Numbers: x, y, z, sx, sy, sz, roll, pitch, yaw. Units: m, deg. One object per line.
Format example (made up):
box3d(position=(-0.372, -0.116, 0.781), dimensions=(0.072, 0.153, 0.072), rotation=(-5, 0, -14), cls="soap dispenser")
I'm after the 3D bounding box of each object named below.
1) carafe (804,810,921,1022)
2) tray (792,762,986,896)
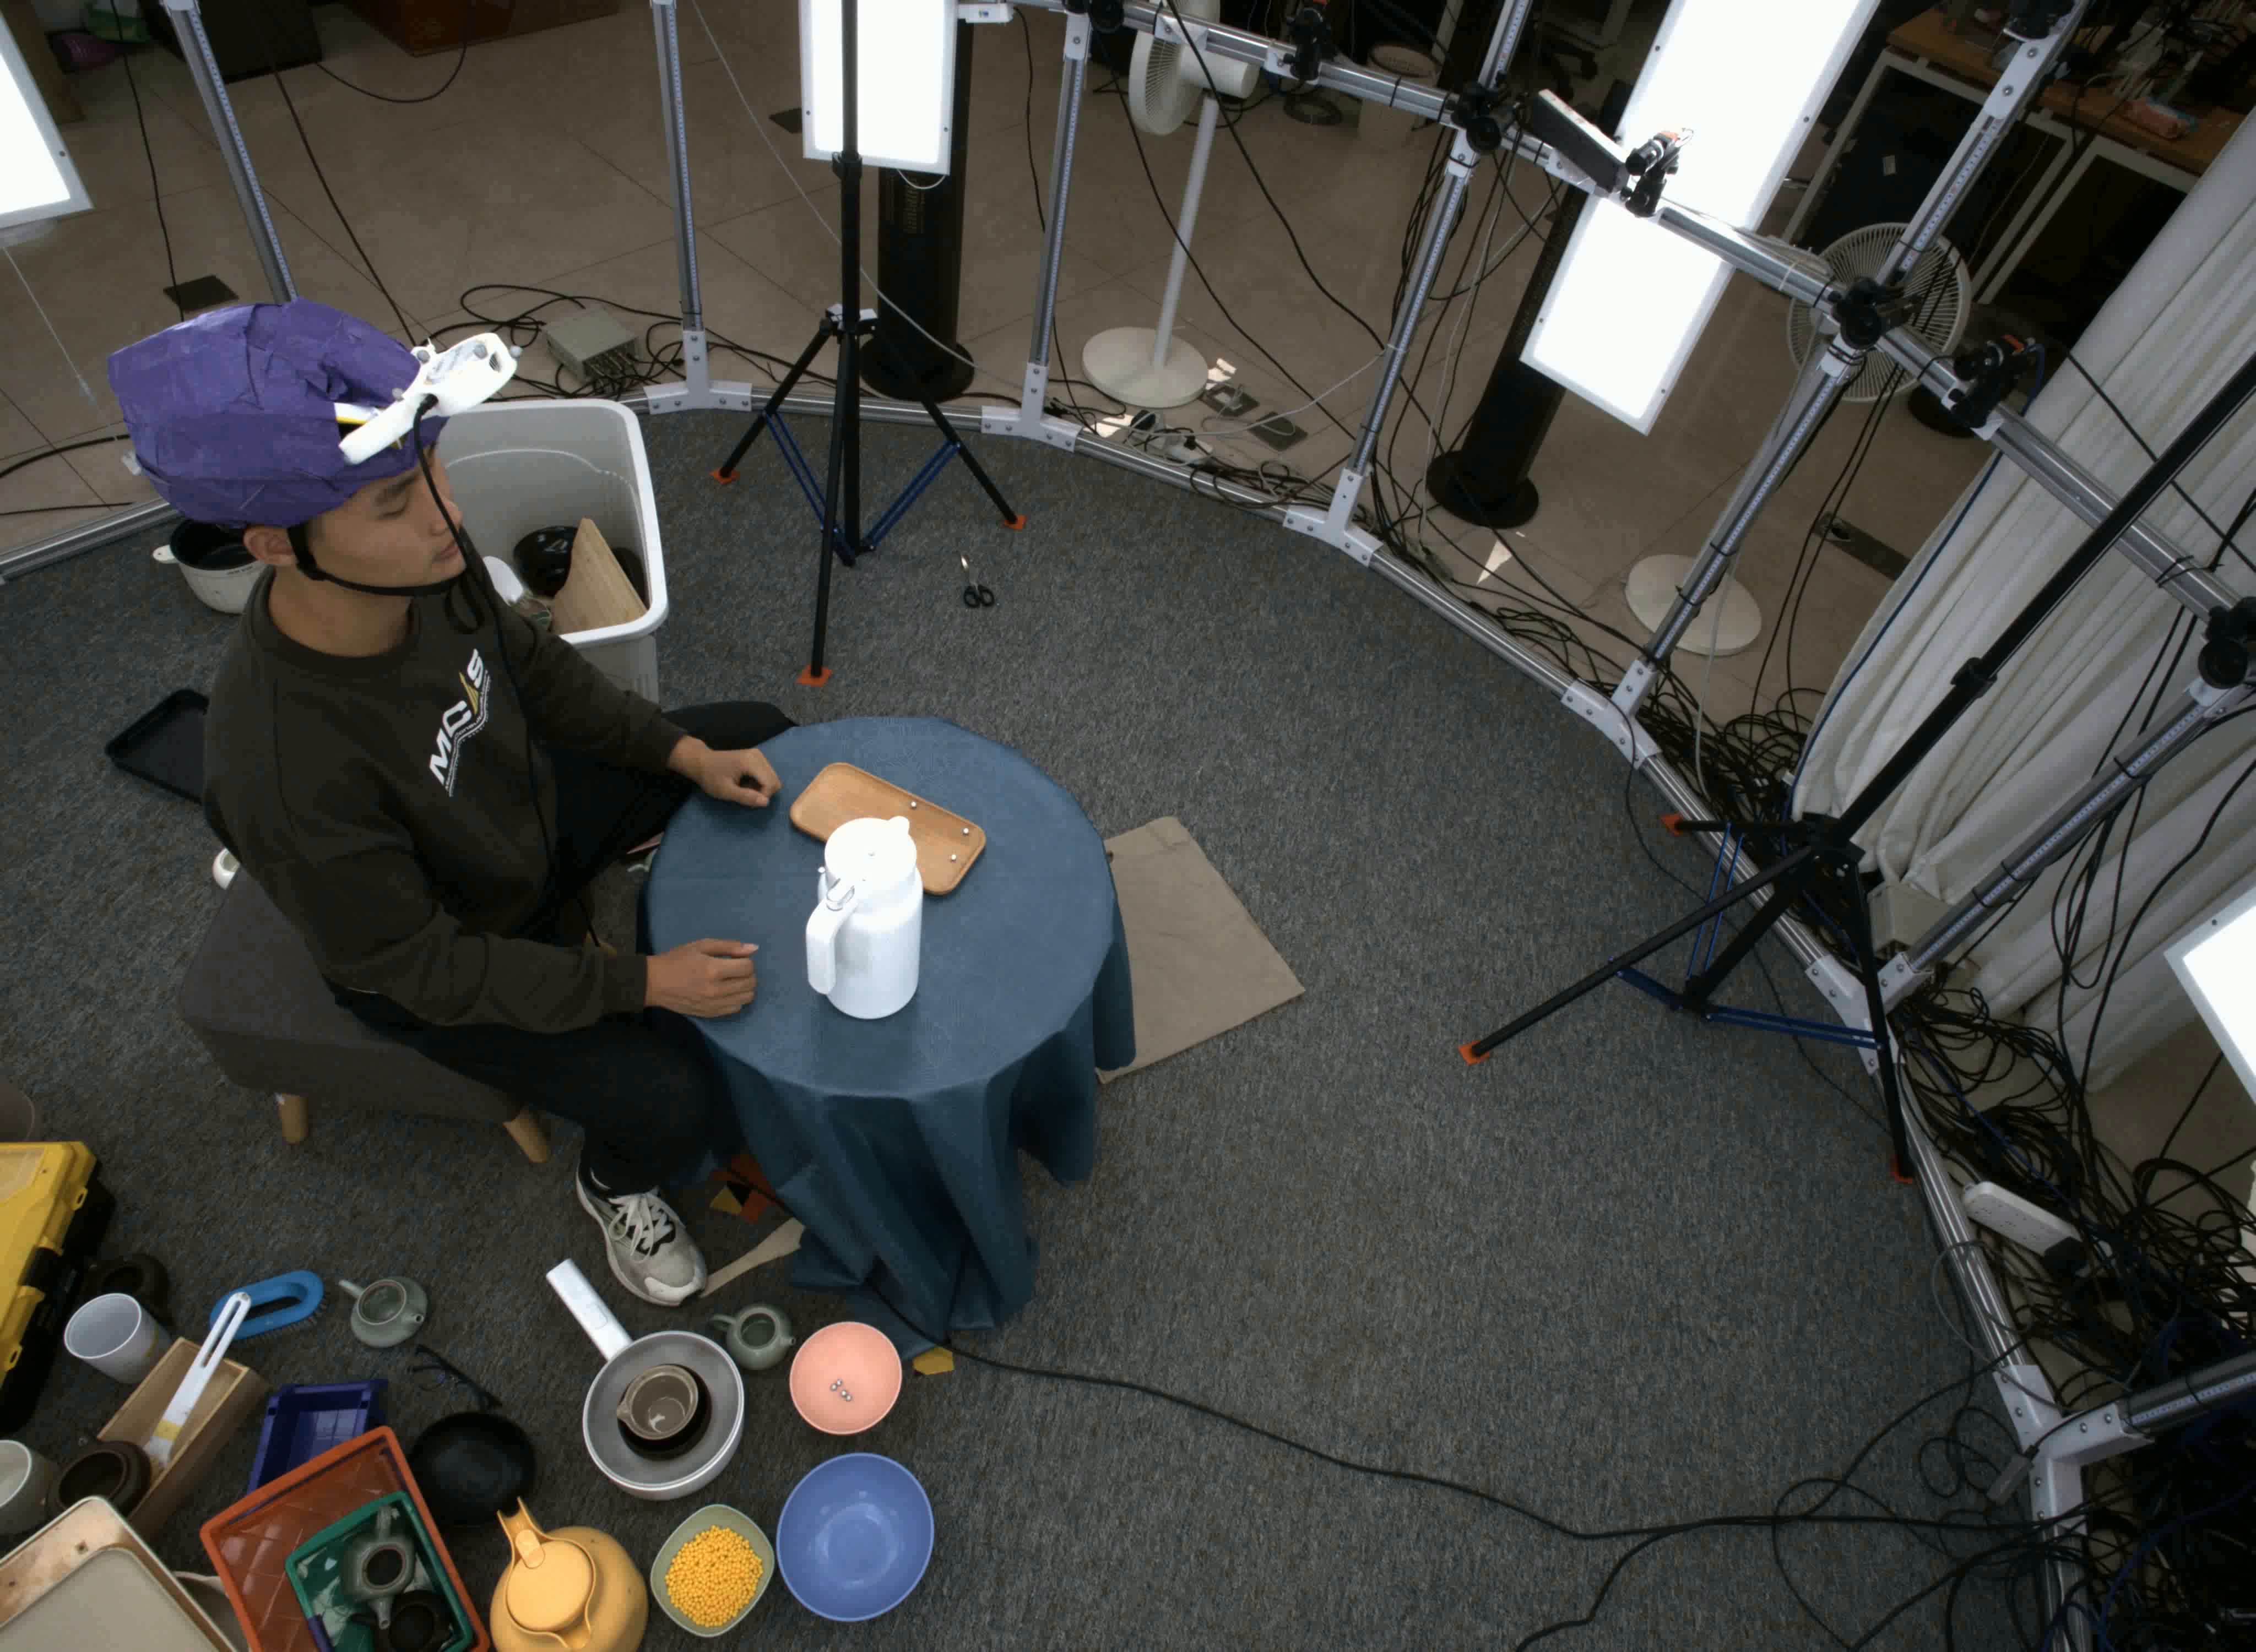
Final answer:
box3d(position=(-0.307, 0.121, 1.502), dimensions=(0.122, 0.274, 0.172), rotation=(26, 52, 8), cls="carafe")
box3d(position=(-0.321, 0.002, 1.748), dimensions=(0.246, 0.023, 0.130), rotation=(26, 50, 8), cls="tray")
